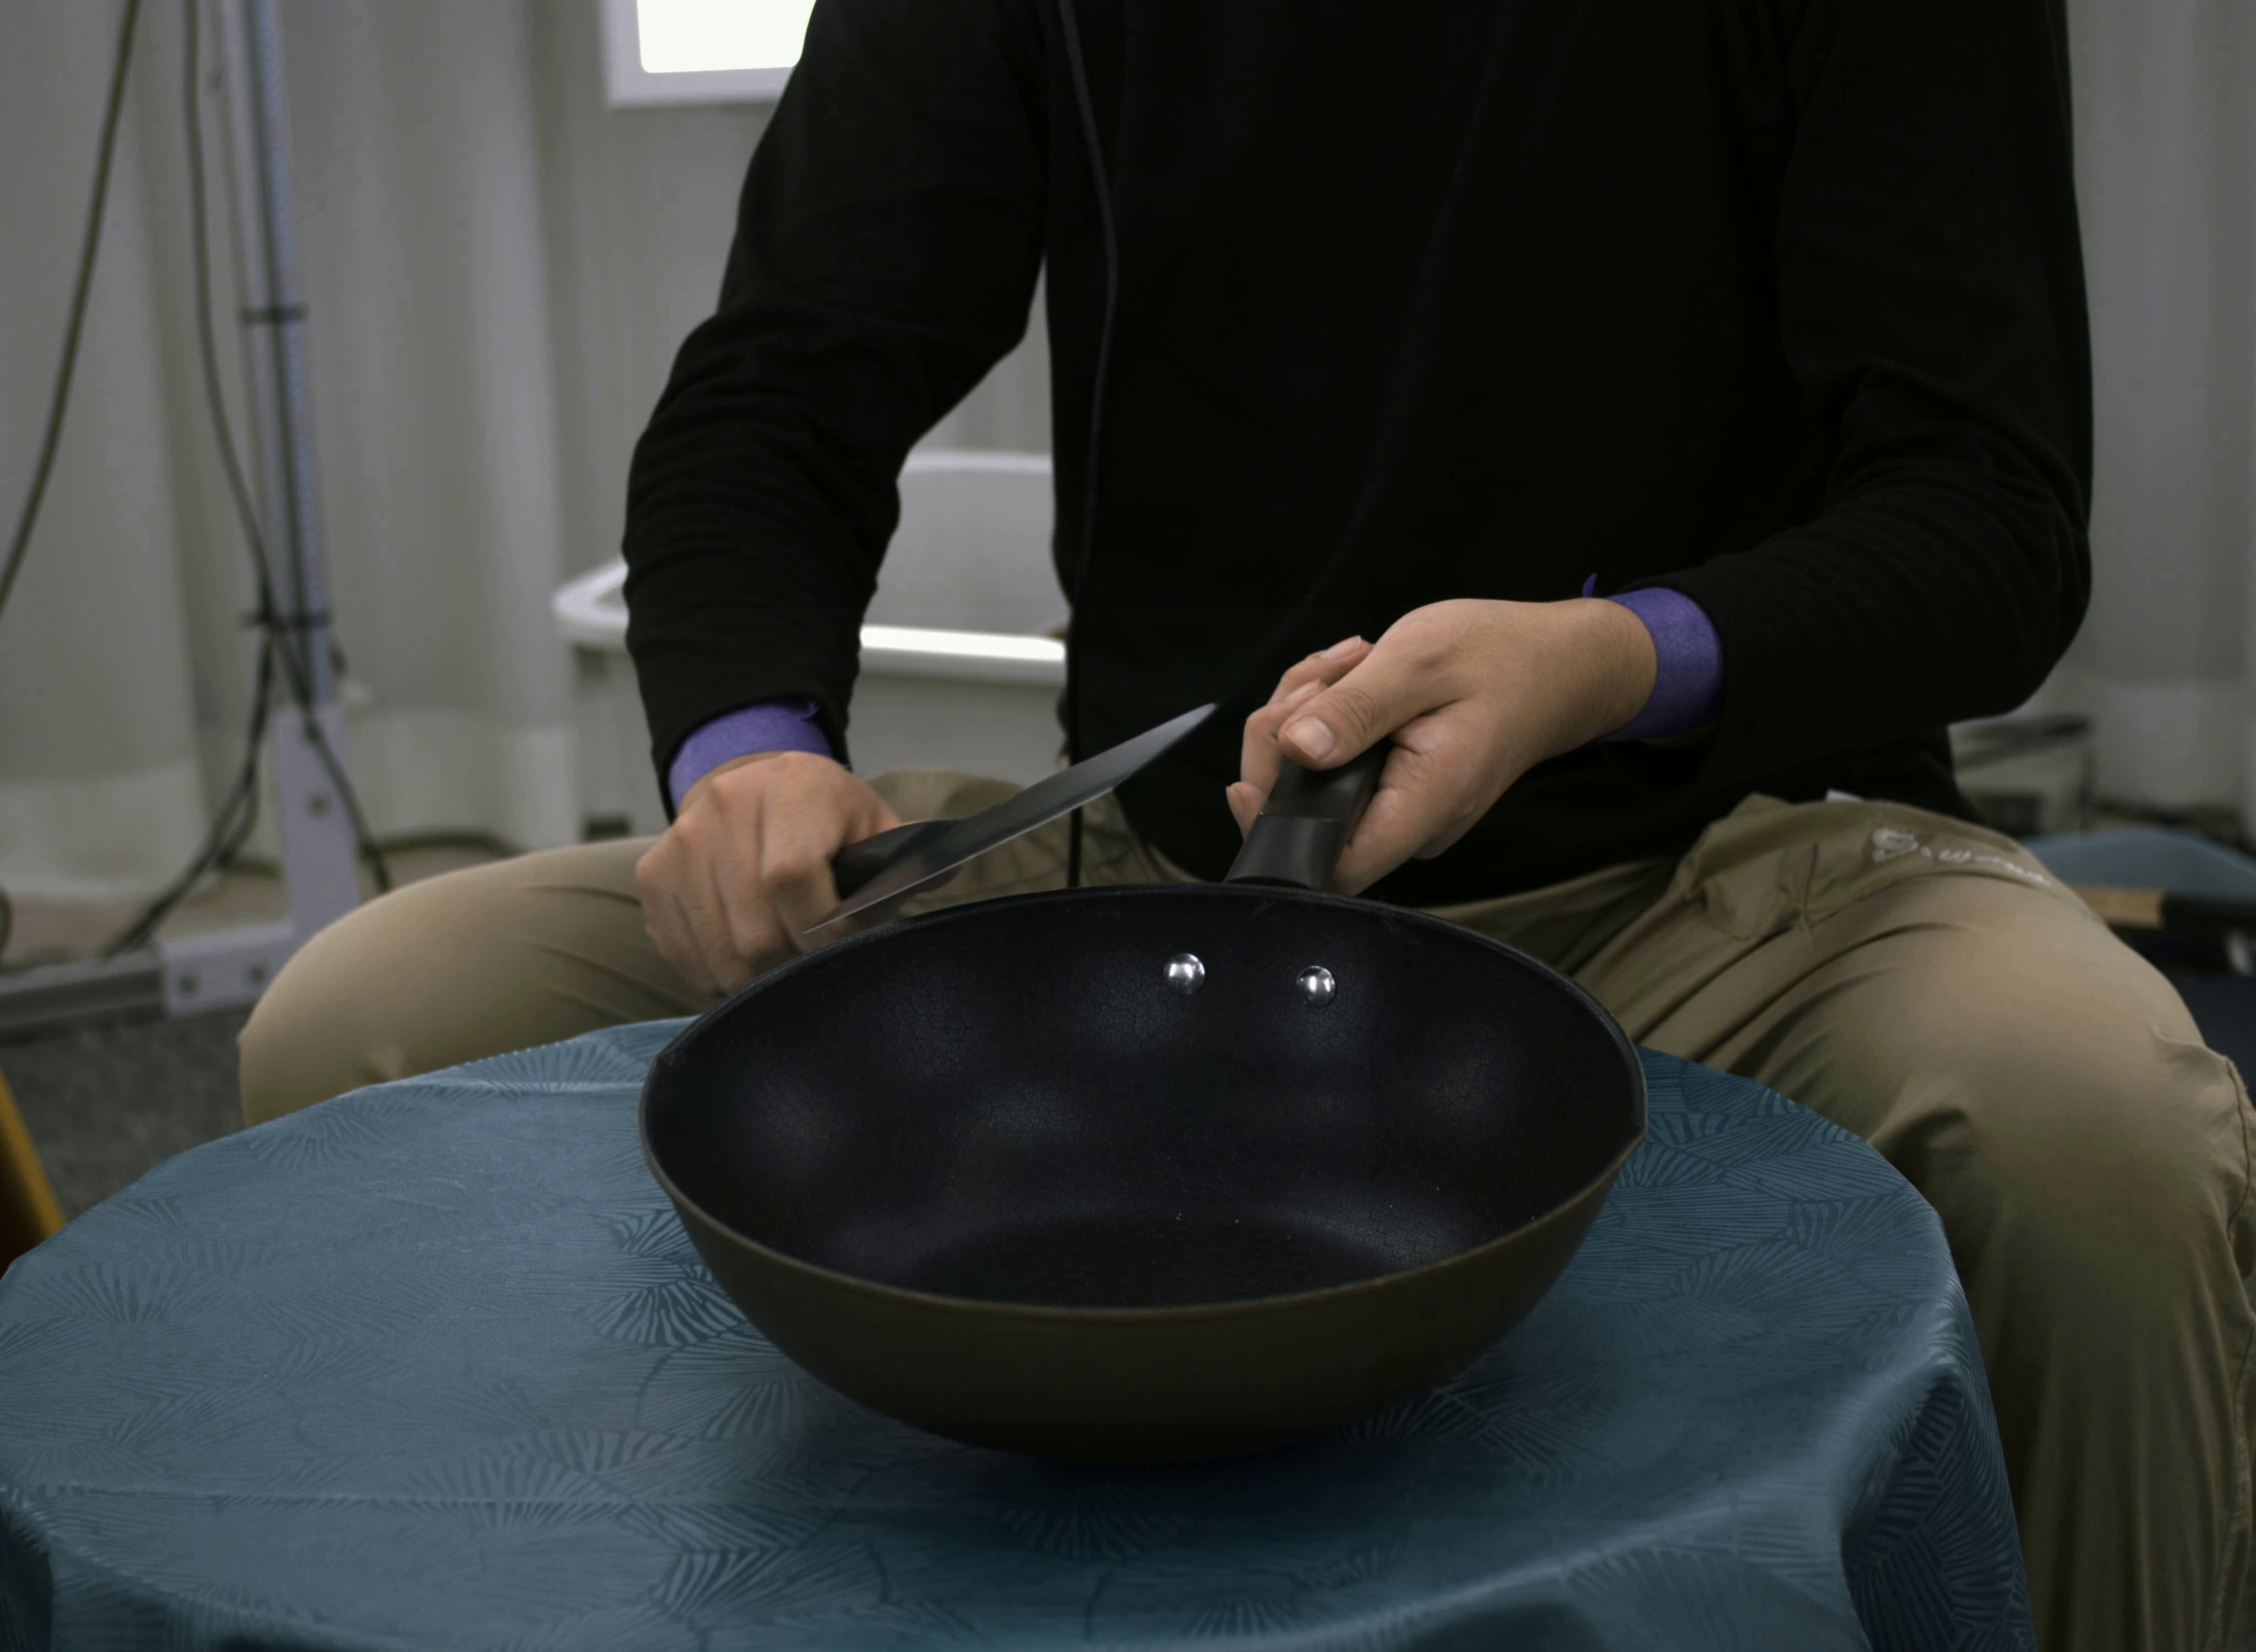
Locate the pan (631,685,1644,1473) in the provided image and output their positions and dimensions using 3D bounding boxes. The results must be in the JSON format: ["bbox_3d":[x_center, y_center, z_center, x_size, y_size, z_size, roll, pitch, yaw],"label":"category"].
[{"bbox_3d":[0.027,0.074,1.626,0.288,0.086,0.466,4,23,15],"label":"pan"}]

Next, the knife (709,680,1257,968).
[{"bbox_3d":[-0.057,0.007,1.698,0.081,0.021,0.301,-36,7,-30],"label":"knife"}]
